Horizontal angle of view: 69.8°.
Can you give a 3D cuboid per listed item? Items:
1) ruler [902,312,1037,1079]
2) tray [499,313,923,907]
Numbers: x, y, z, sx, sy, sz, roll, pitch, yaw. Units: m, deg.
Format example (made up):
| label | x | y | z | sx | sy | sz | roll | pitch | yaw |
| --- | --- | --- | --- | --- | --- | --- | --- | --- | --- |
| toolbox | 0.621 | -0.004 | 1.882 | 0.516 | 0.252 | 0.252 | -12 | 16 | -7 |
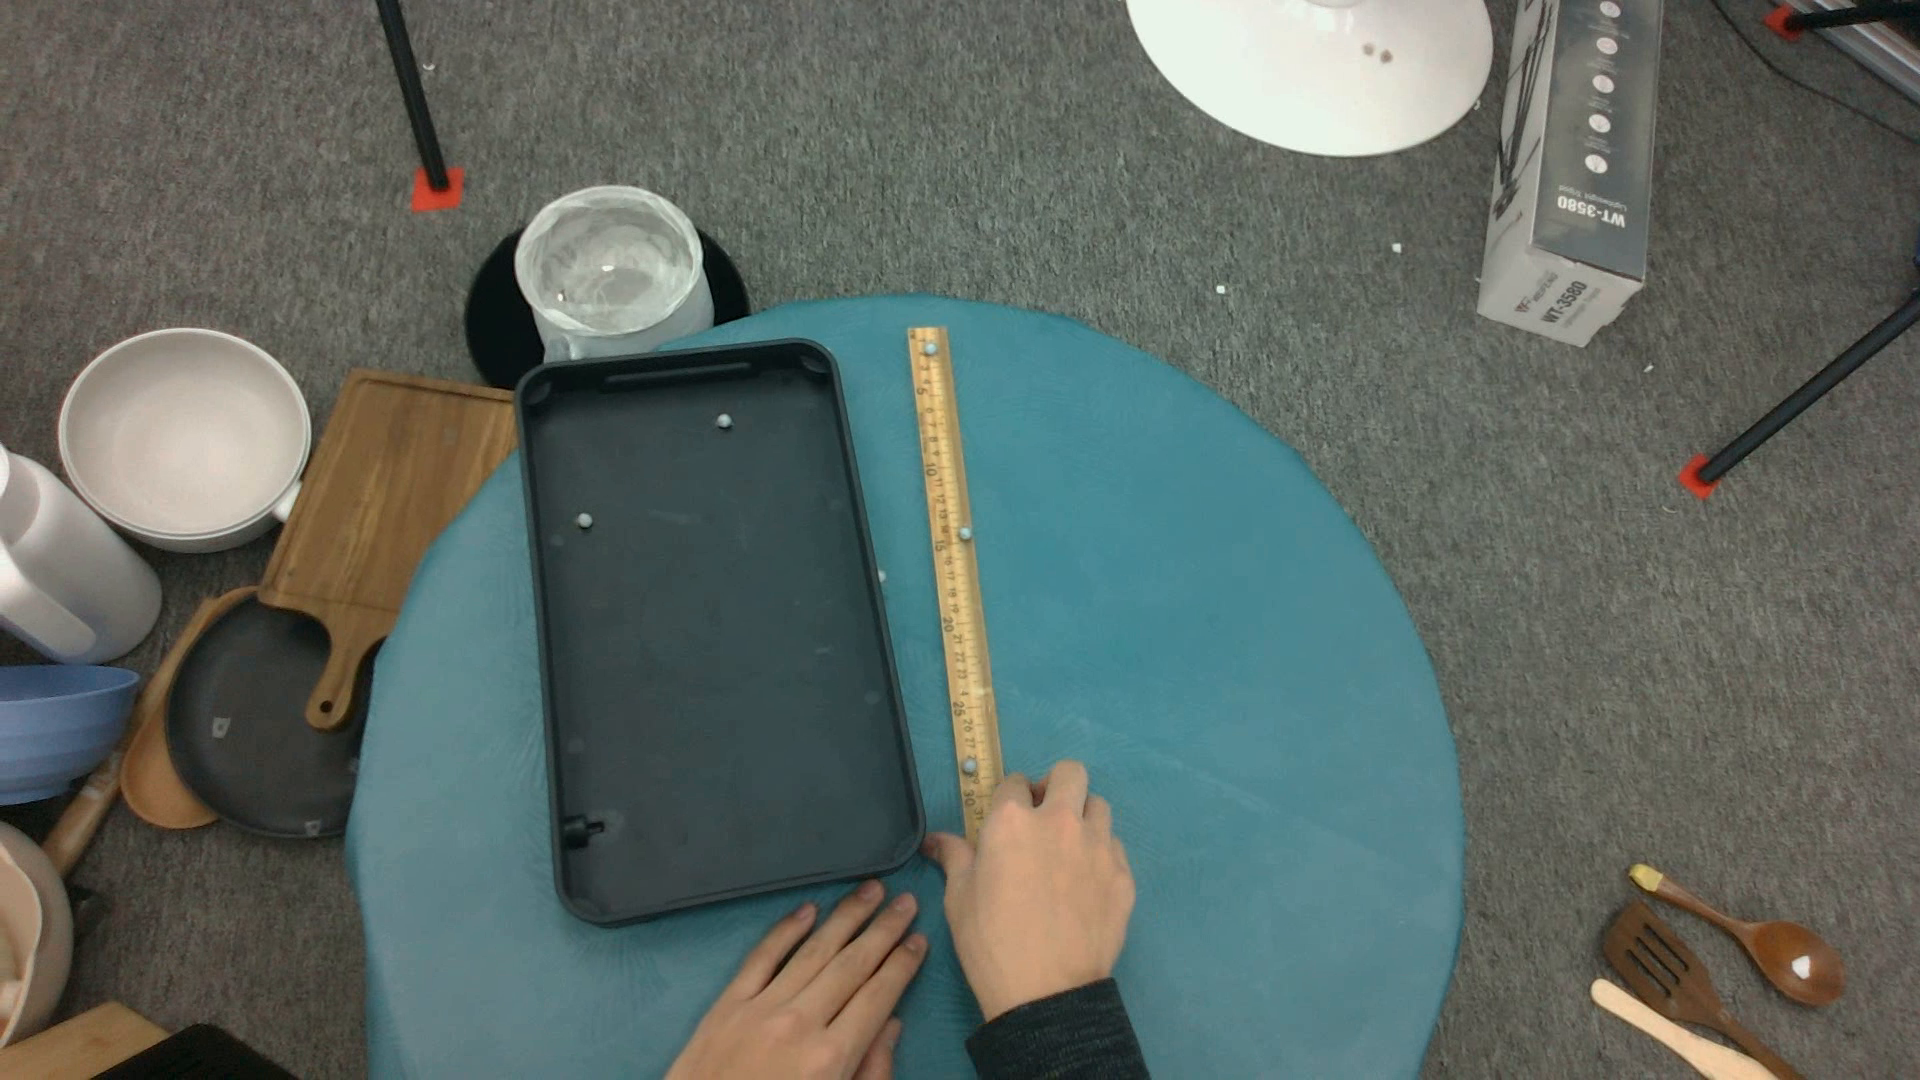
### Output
| label | x | y | z | sx | sy | sz | roll | pitch | yaw |
| --- | --- | --- | --- | --- | --- | --- | --- | --- | --- |
| ruler | 0.003 | 0.086 | 0.763 | 0.027 | 0.006 | 0.502 | -4 | 66 | -7 |
| tray | -0.141 | 0.027 | 0.753 | 0.184 | 0.037 | 0.319 | -9 | 68 | -12 |
